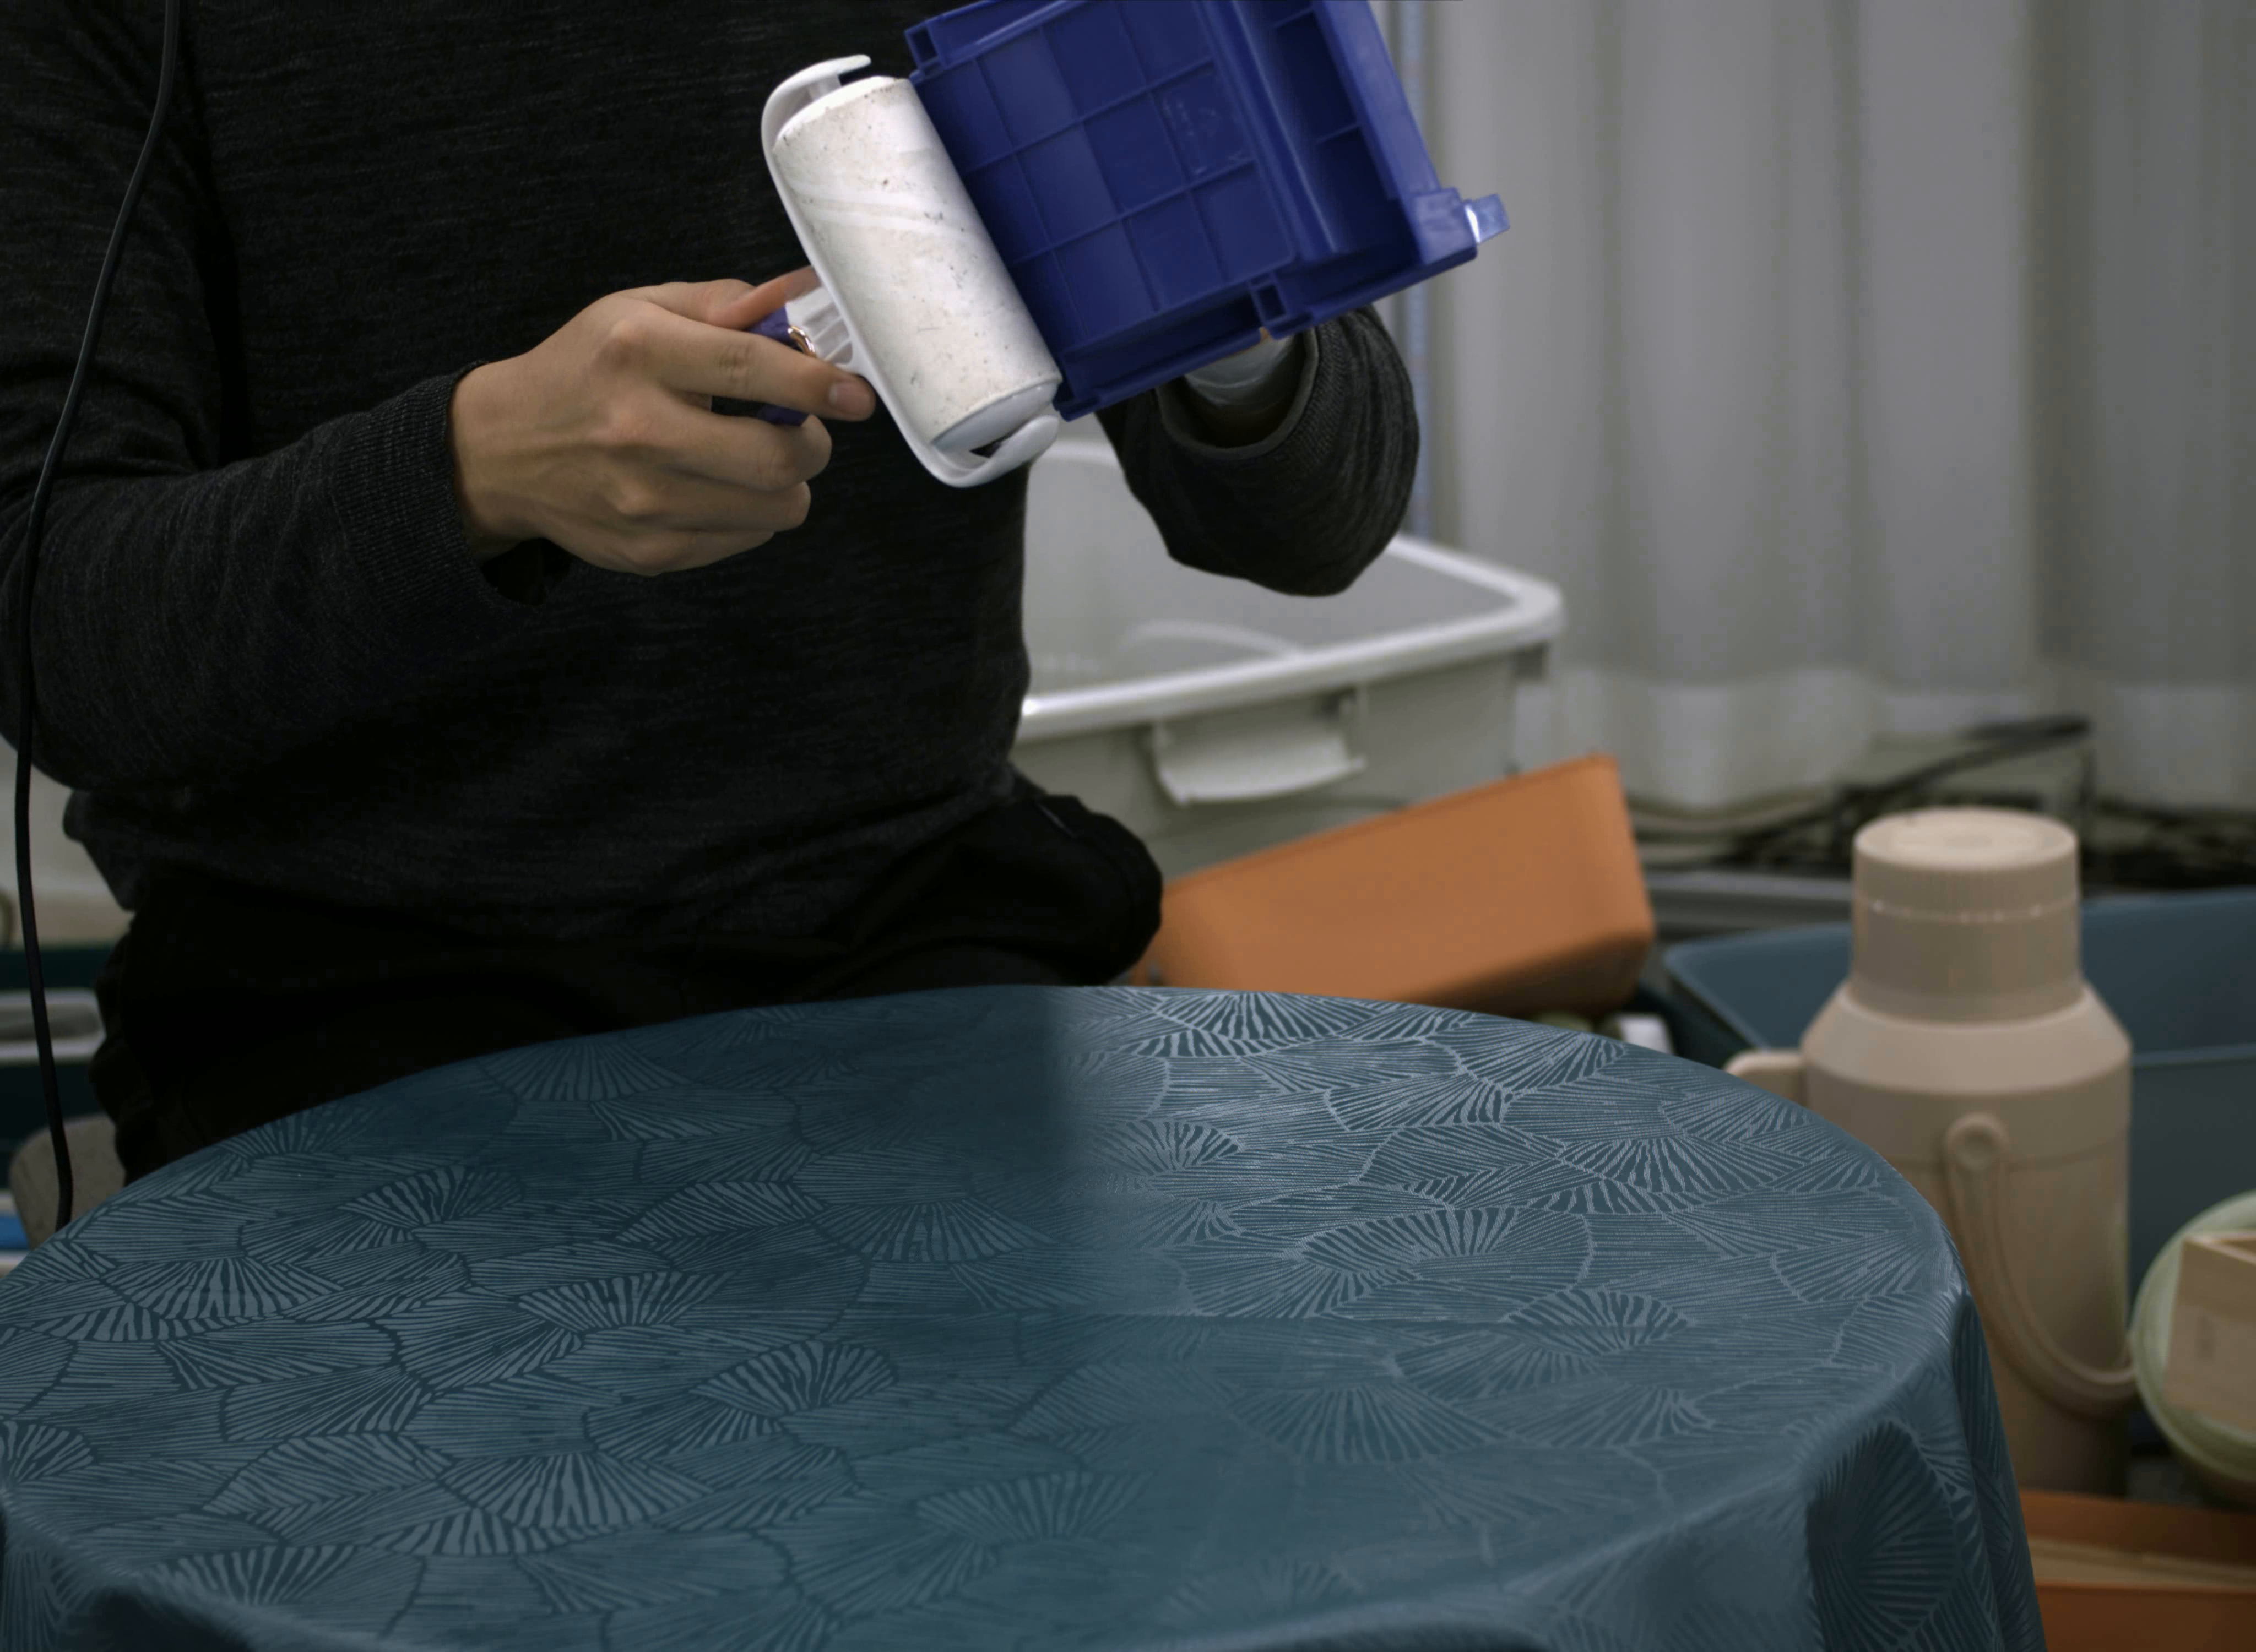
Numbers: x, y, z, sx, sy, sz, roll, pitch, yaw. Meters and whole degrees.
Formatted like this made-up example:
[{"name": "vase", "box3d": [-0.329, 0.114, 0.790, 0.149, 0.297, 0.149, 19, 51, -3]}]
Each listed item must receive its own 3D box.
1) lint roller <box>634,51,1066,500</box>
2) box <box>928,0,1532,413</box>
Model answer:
[{"name": "lint roller", "box3d": [-0.104, -0.142, 1.648, 0.180, 0.133, 0.050, -29, -3, 40]}, {"name": "box", "box3d": [0.032, -0.204, 1.576, 0.082, 0.124, 0.179, -23, 3, -39]}]
